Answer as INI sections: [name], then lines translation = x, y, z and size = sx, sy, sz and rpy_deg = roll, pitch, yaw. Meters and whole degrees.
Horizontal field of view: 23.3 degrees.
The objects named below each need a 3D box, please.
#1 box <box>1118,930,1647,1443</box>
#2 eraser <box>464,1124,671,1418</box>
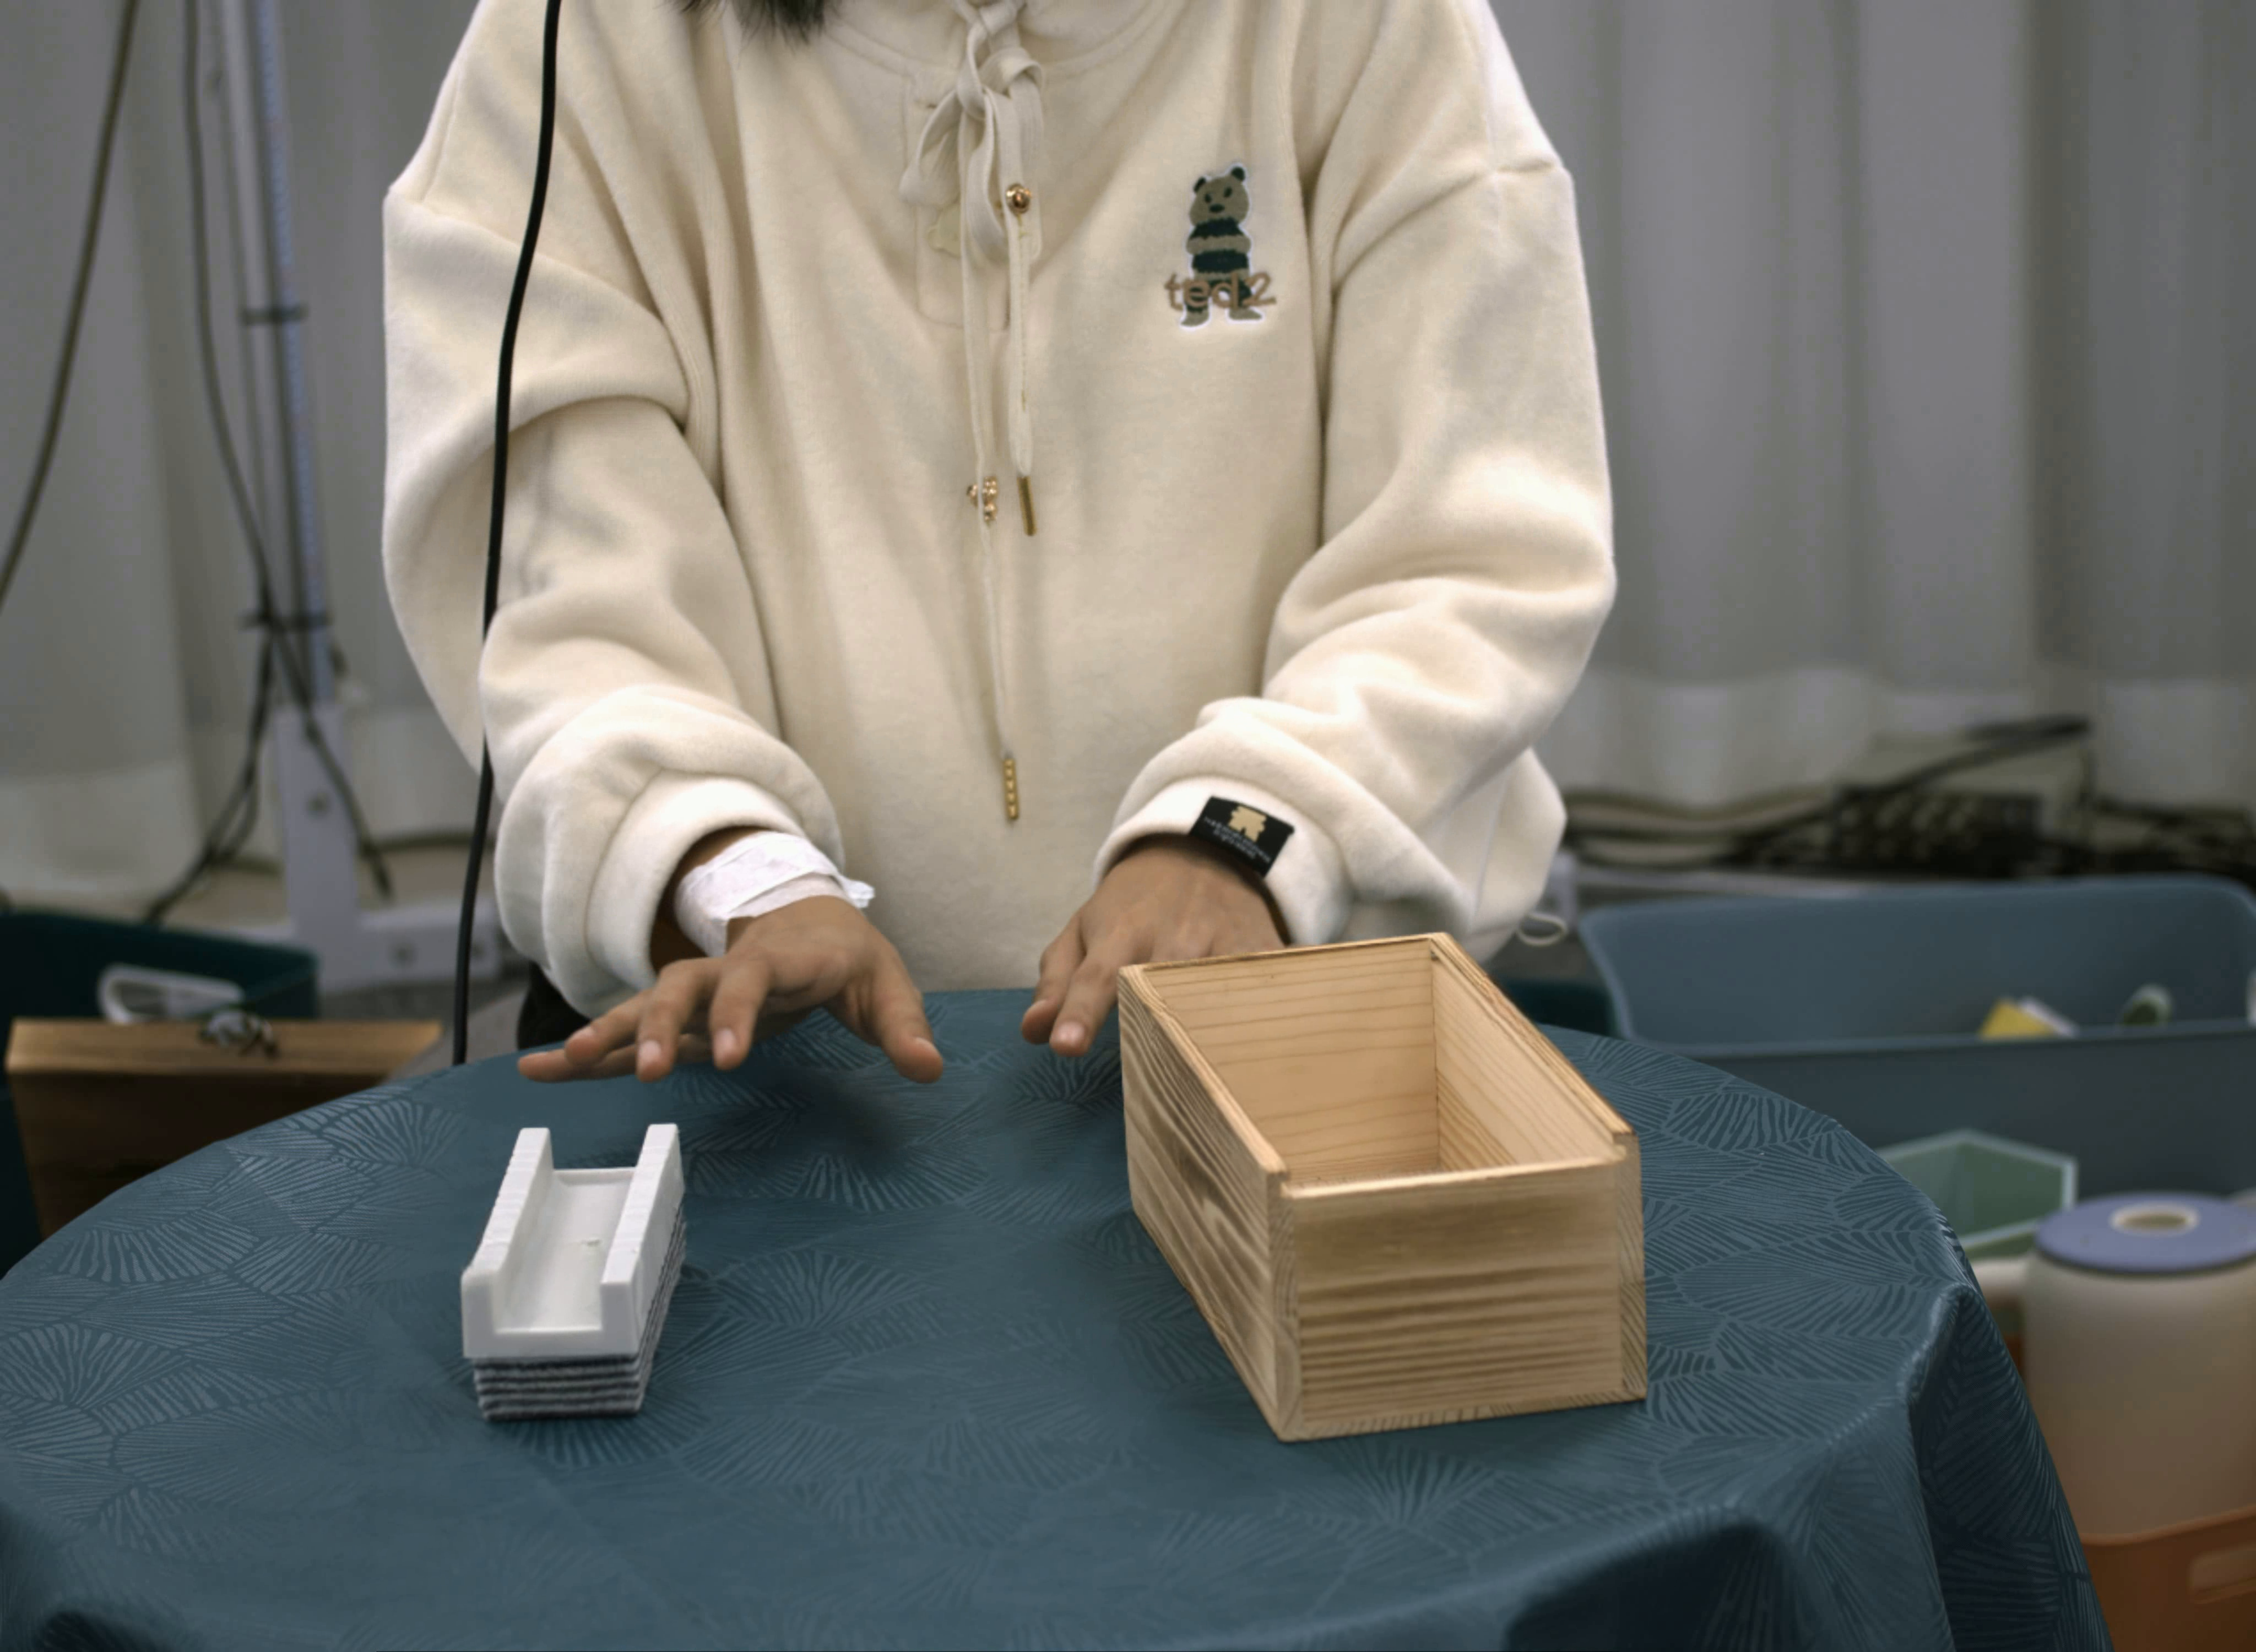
[box]
translation = 0.070, 0.101, 1.598
size = 0.107, 0.080, 0.213
rpy_deg = -5, 15, -11
[eraser]
translation = -0.162, 0.129, 1.601
size = 0.049, 0.046, 0.135
rpy_deg = -5, 16, 0
